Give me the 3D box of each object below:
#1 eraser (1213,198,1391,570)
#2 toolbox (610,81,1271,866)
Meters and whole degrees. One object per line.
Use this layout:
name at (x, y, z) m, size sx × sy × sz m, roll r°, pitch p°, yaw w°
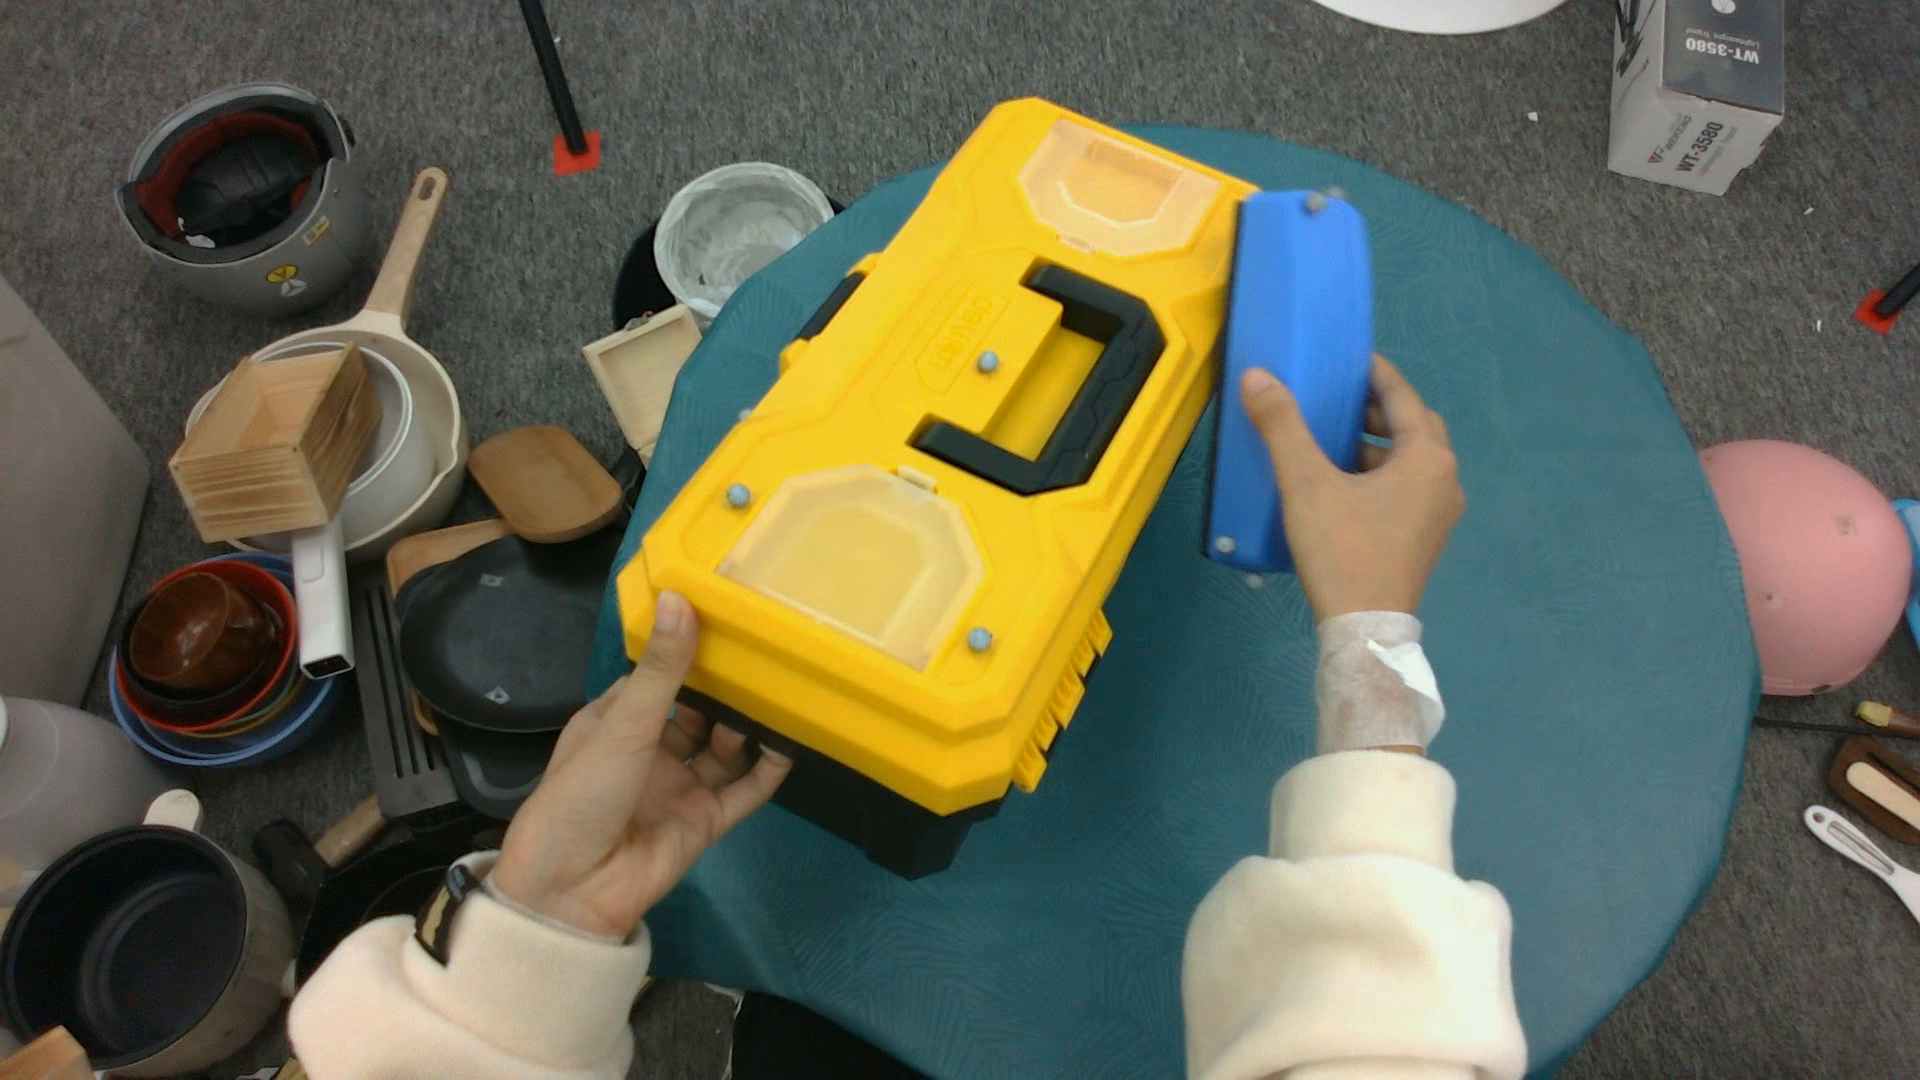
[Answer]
eraser at (0.153, -0.067, 0.600) m, size 0.054 × 0.047 × 0.162 m, roll 8°, pitch 91°, yaw -36°
toolbox at (0.004, -0.038, 0.631) m, size 0.181 × 0.172 × 0.353 m, roll 26°, pitch 55°, yaw 9°
